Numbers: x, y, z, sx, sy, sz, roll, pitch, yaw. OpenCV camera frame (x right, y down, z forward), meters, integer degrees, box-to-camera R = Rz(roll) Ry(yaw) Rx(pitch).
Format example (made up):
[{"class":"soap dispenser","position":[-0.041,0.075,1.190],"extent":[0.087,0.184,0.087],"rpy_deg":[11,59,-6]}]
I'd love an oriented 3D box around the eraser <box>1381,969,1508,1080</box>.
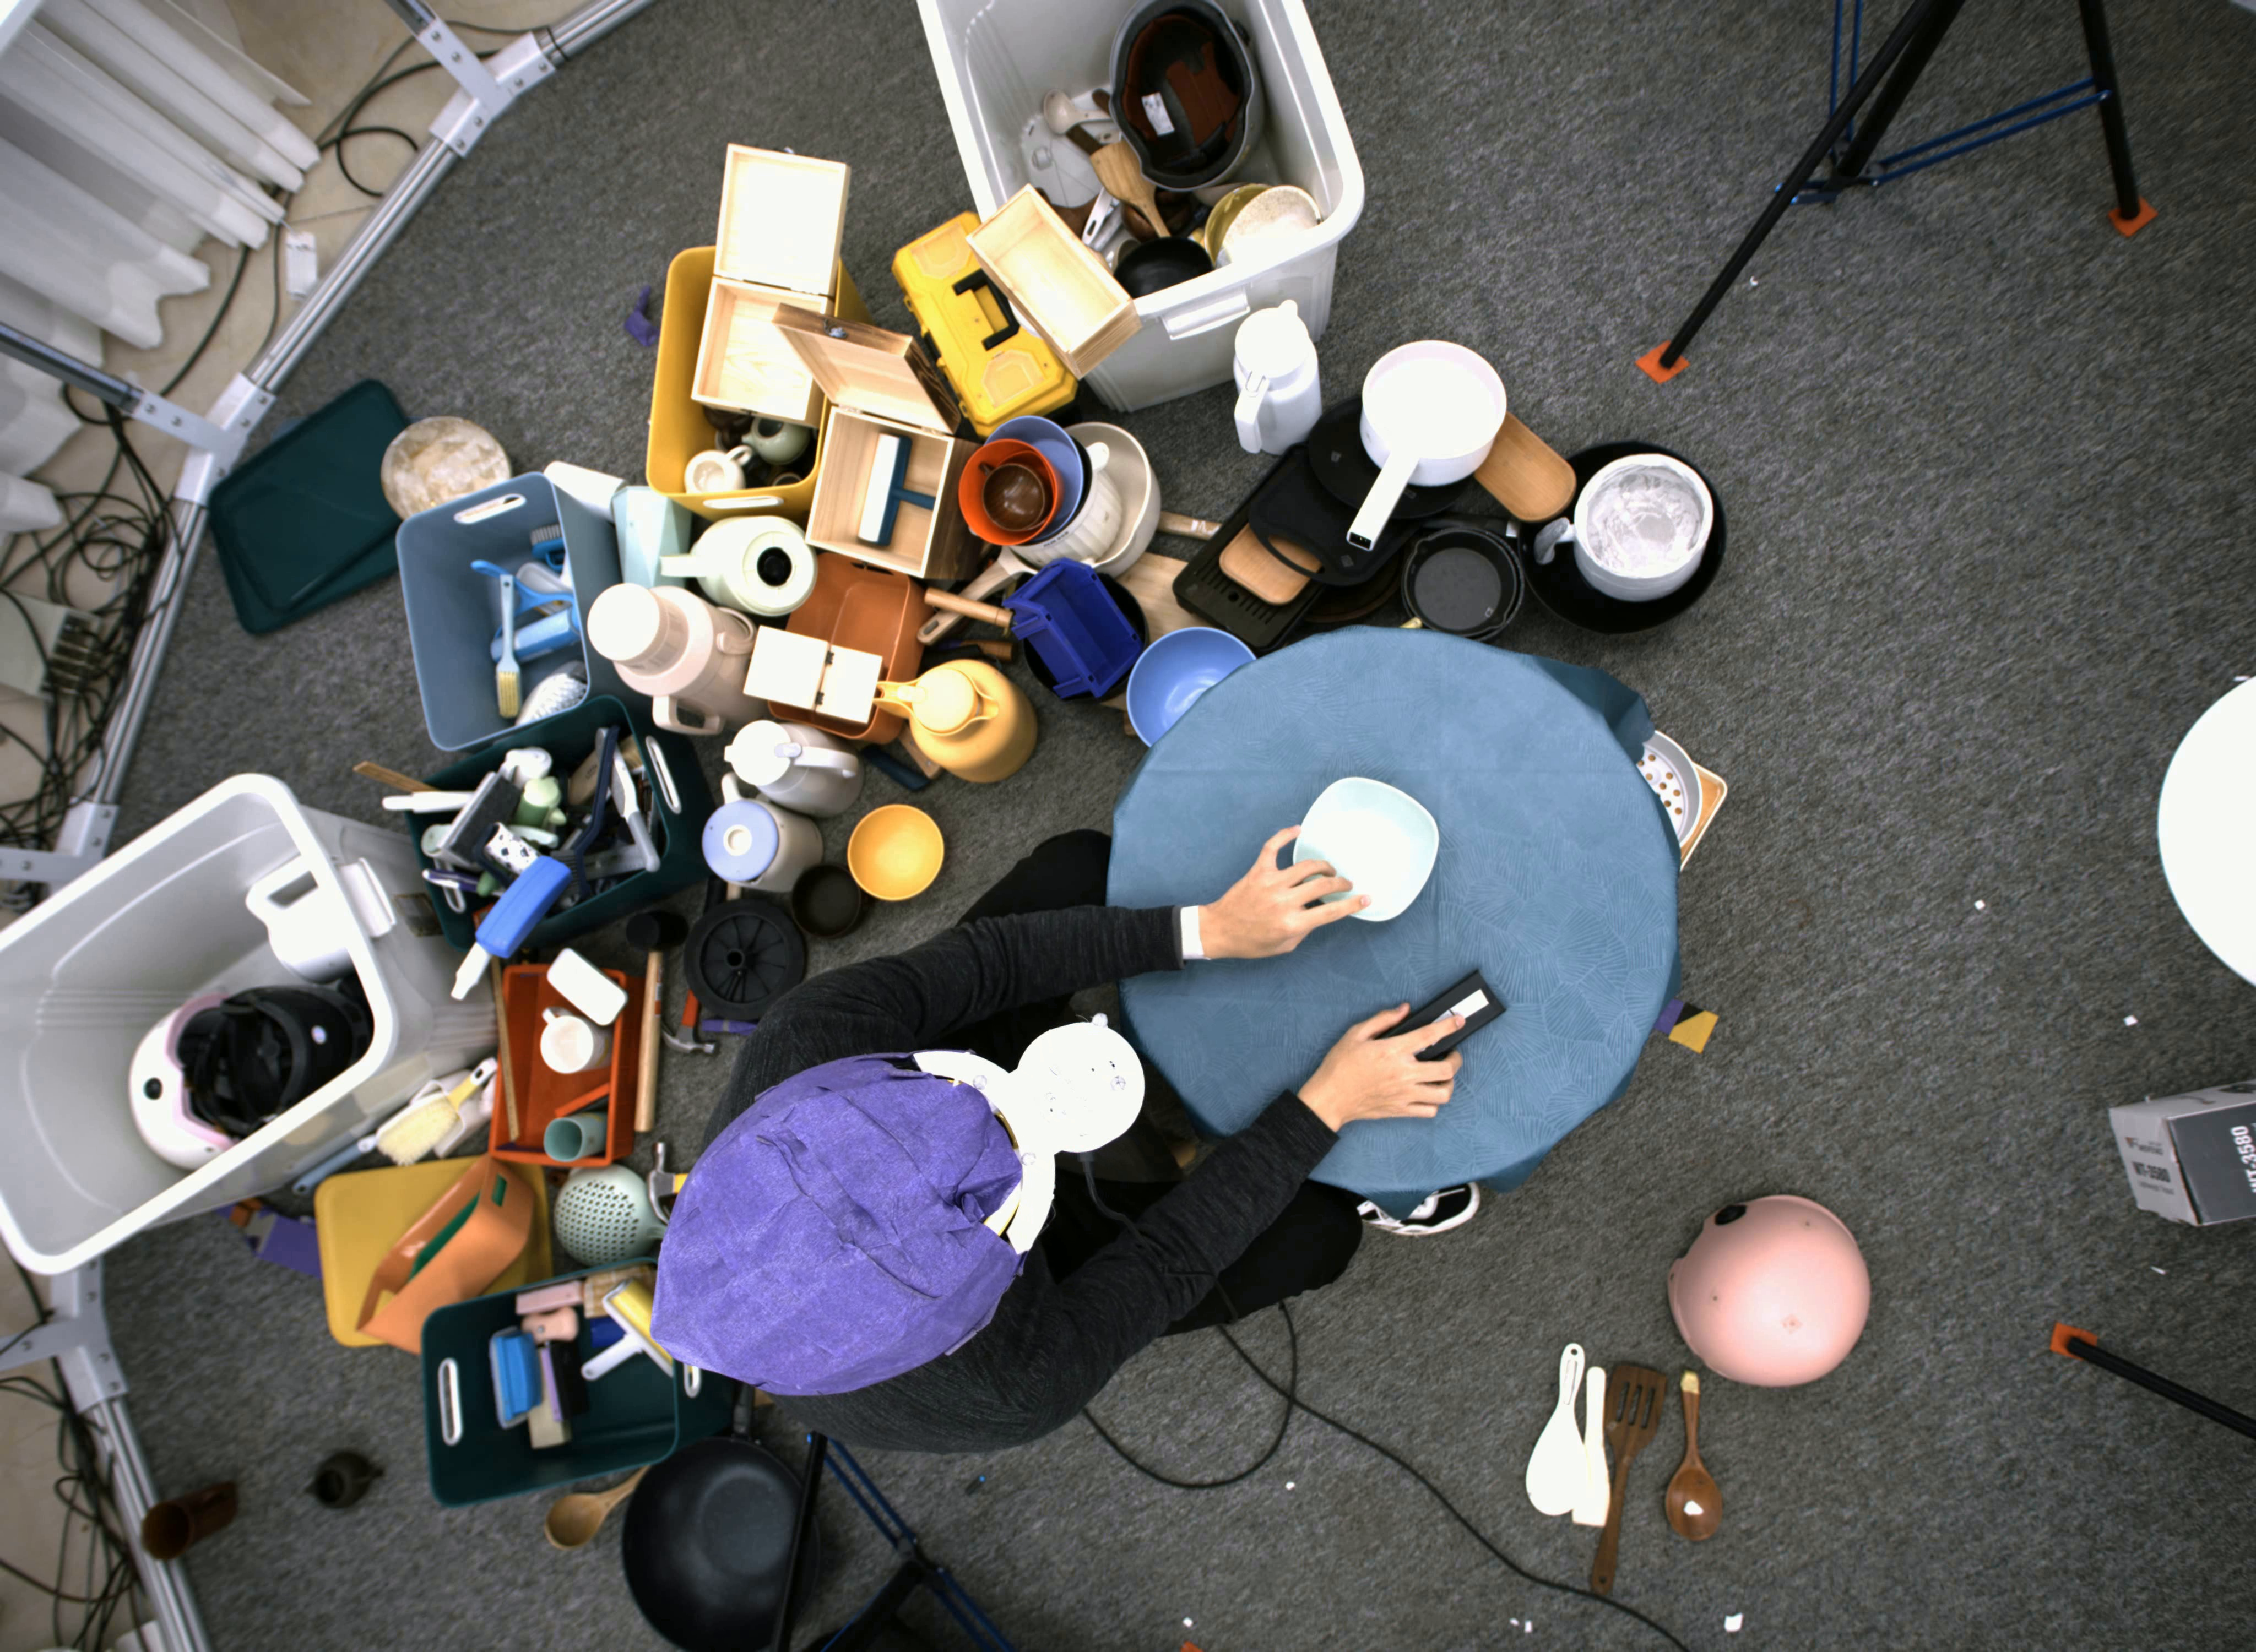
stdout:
[{"class":"eraser","position":[0.327,0.203,1.428],"extent":[0.126,0.030,0.053],"rpy_deg":[-37,78,7]}]

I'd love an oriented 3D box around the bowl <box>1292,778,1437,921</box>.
[{"class":"bowl","position":[0.246,0.026,1.439],"extent":[0.152,0.059,0.150],"rpy_deg":[-1,85,9]}]
